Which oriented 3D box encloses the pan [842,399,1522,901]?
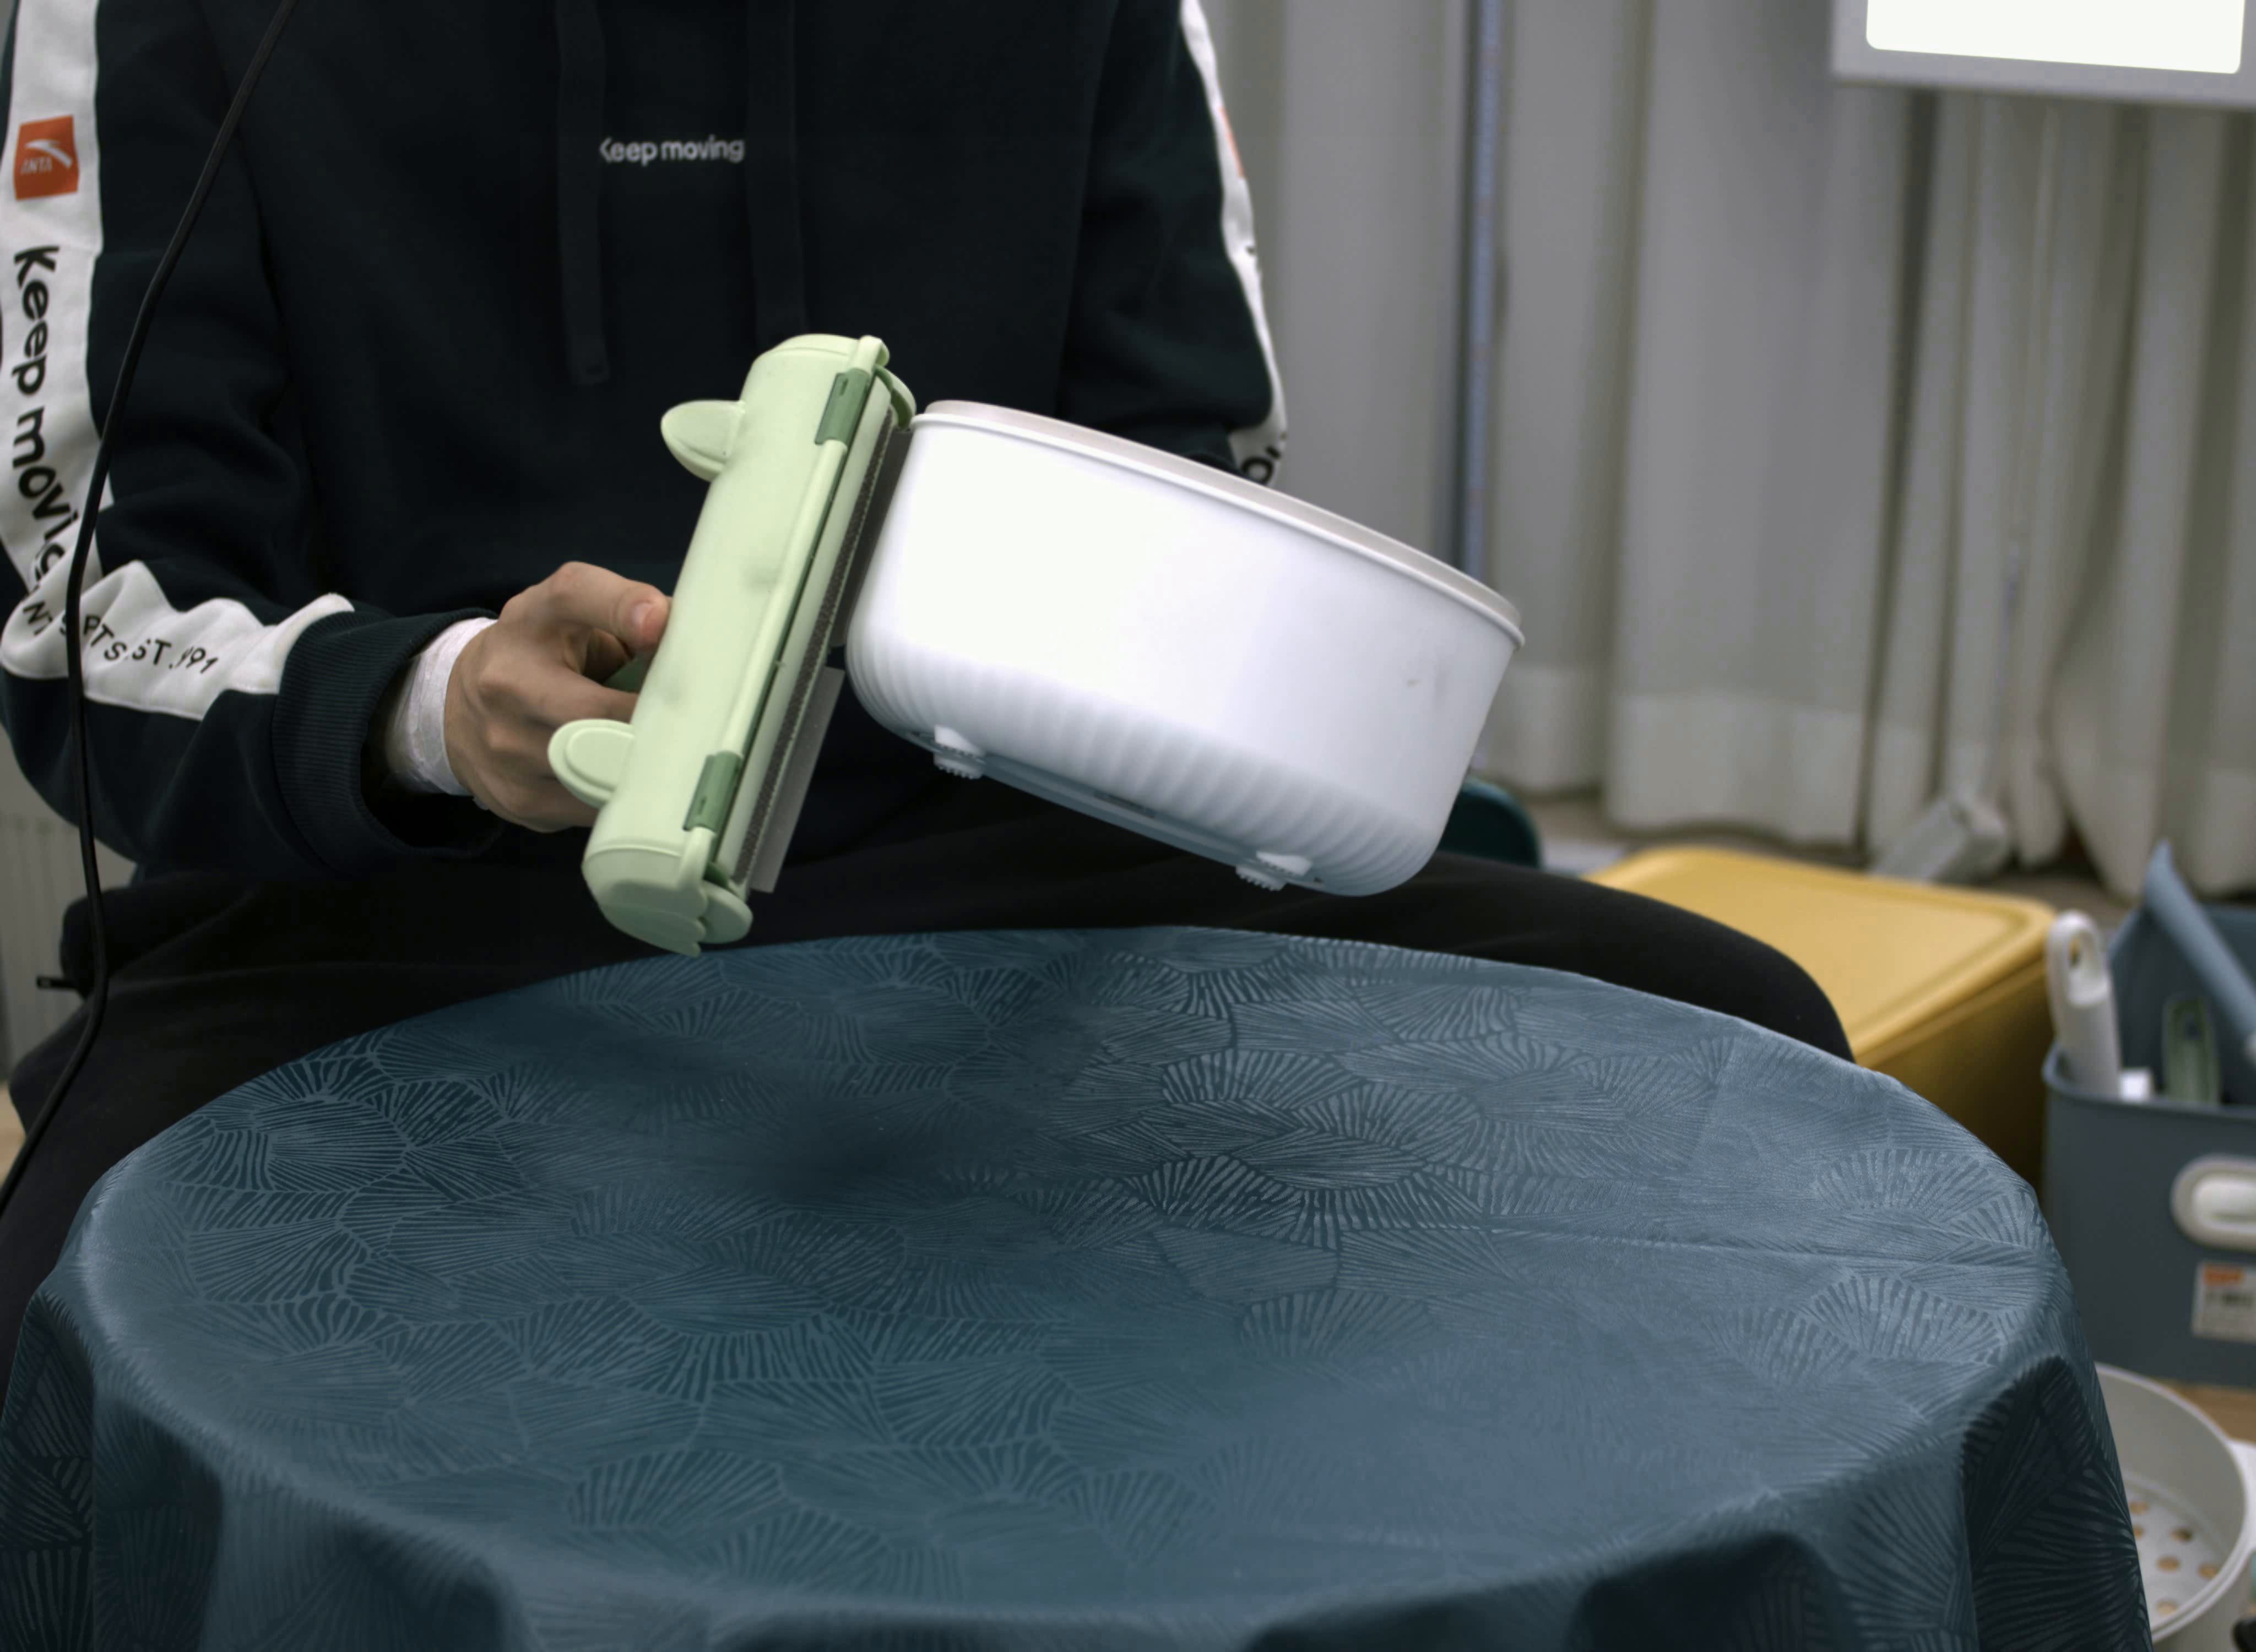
[{"bbox_3d":[0.010,-0.042,1.692,0.201,0.102,0.355,20,-5,-1],"label":"pan"}]

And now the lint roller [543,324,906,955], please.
[{"bbox_3d":[-0.153,-0.051,1.638,0.083,0.198,0.182,29,-27,-28],"label":"lint roller"}]
